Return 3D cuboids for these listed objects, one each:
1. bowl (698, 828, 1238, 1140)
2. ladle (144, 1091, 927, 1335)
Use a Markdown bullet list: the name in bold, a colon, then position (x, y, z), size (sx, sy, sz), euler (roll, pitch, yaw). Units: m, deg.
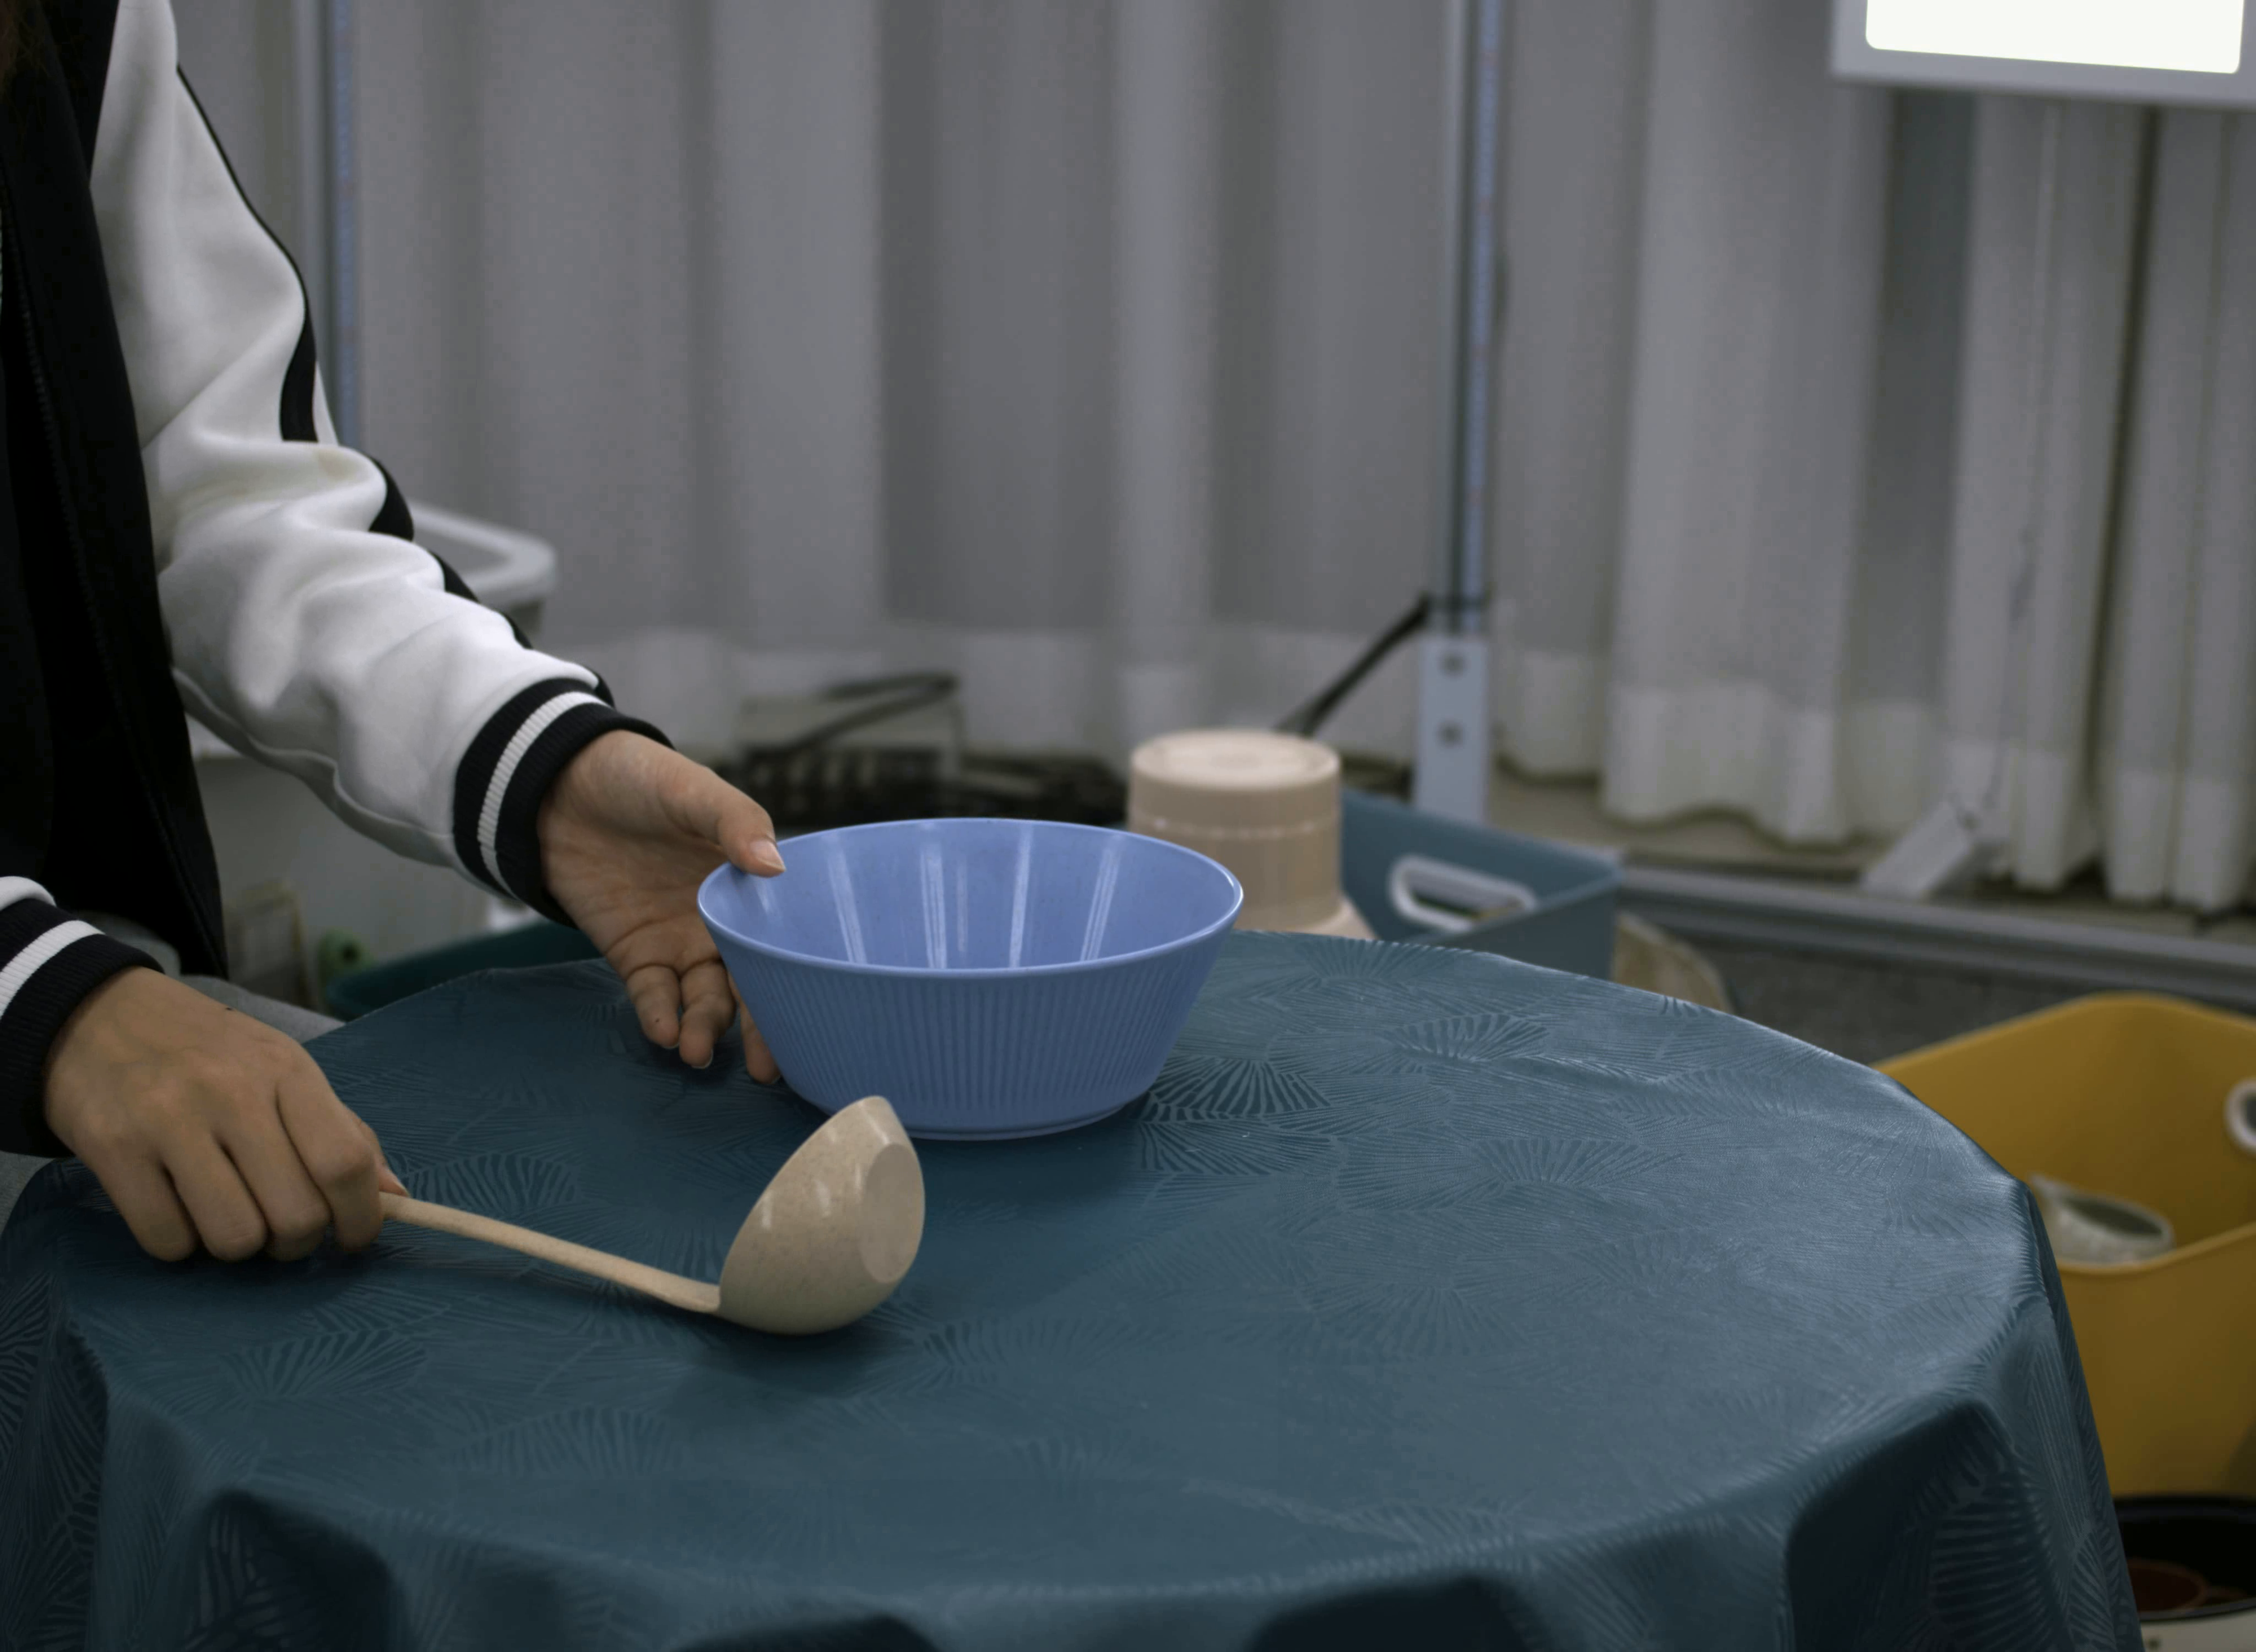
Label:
- **bowl**: position (-0.052, 0.053, 1.703), size (0.175, 0.071, 0.175), euler (1, 15, 0)
- **ladle**: position (-0.178, 0.096, 1.531), size (0.252, 0.073, 0.072), euler (9, 10, 23)
